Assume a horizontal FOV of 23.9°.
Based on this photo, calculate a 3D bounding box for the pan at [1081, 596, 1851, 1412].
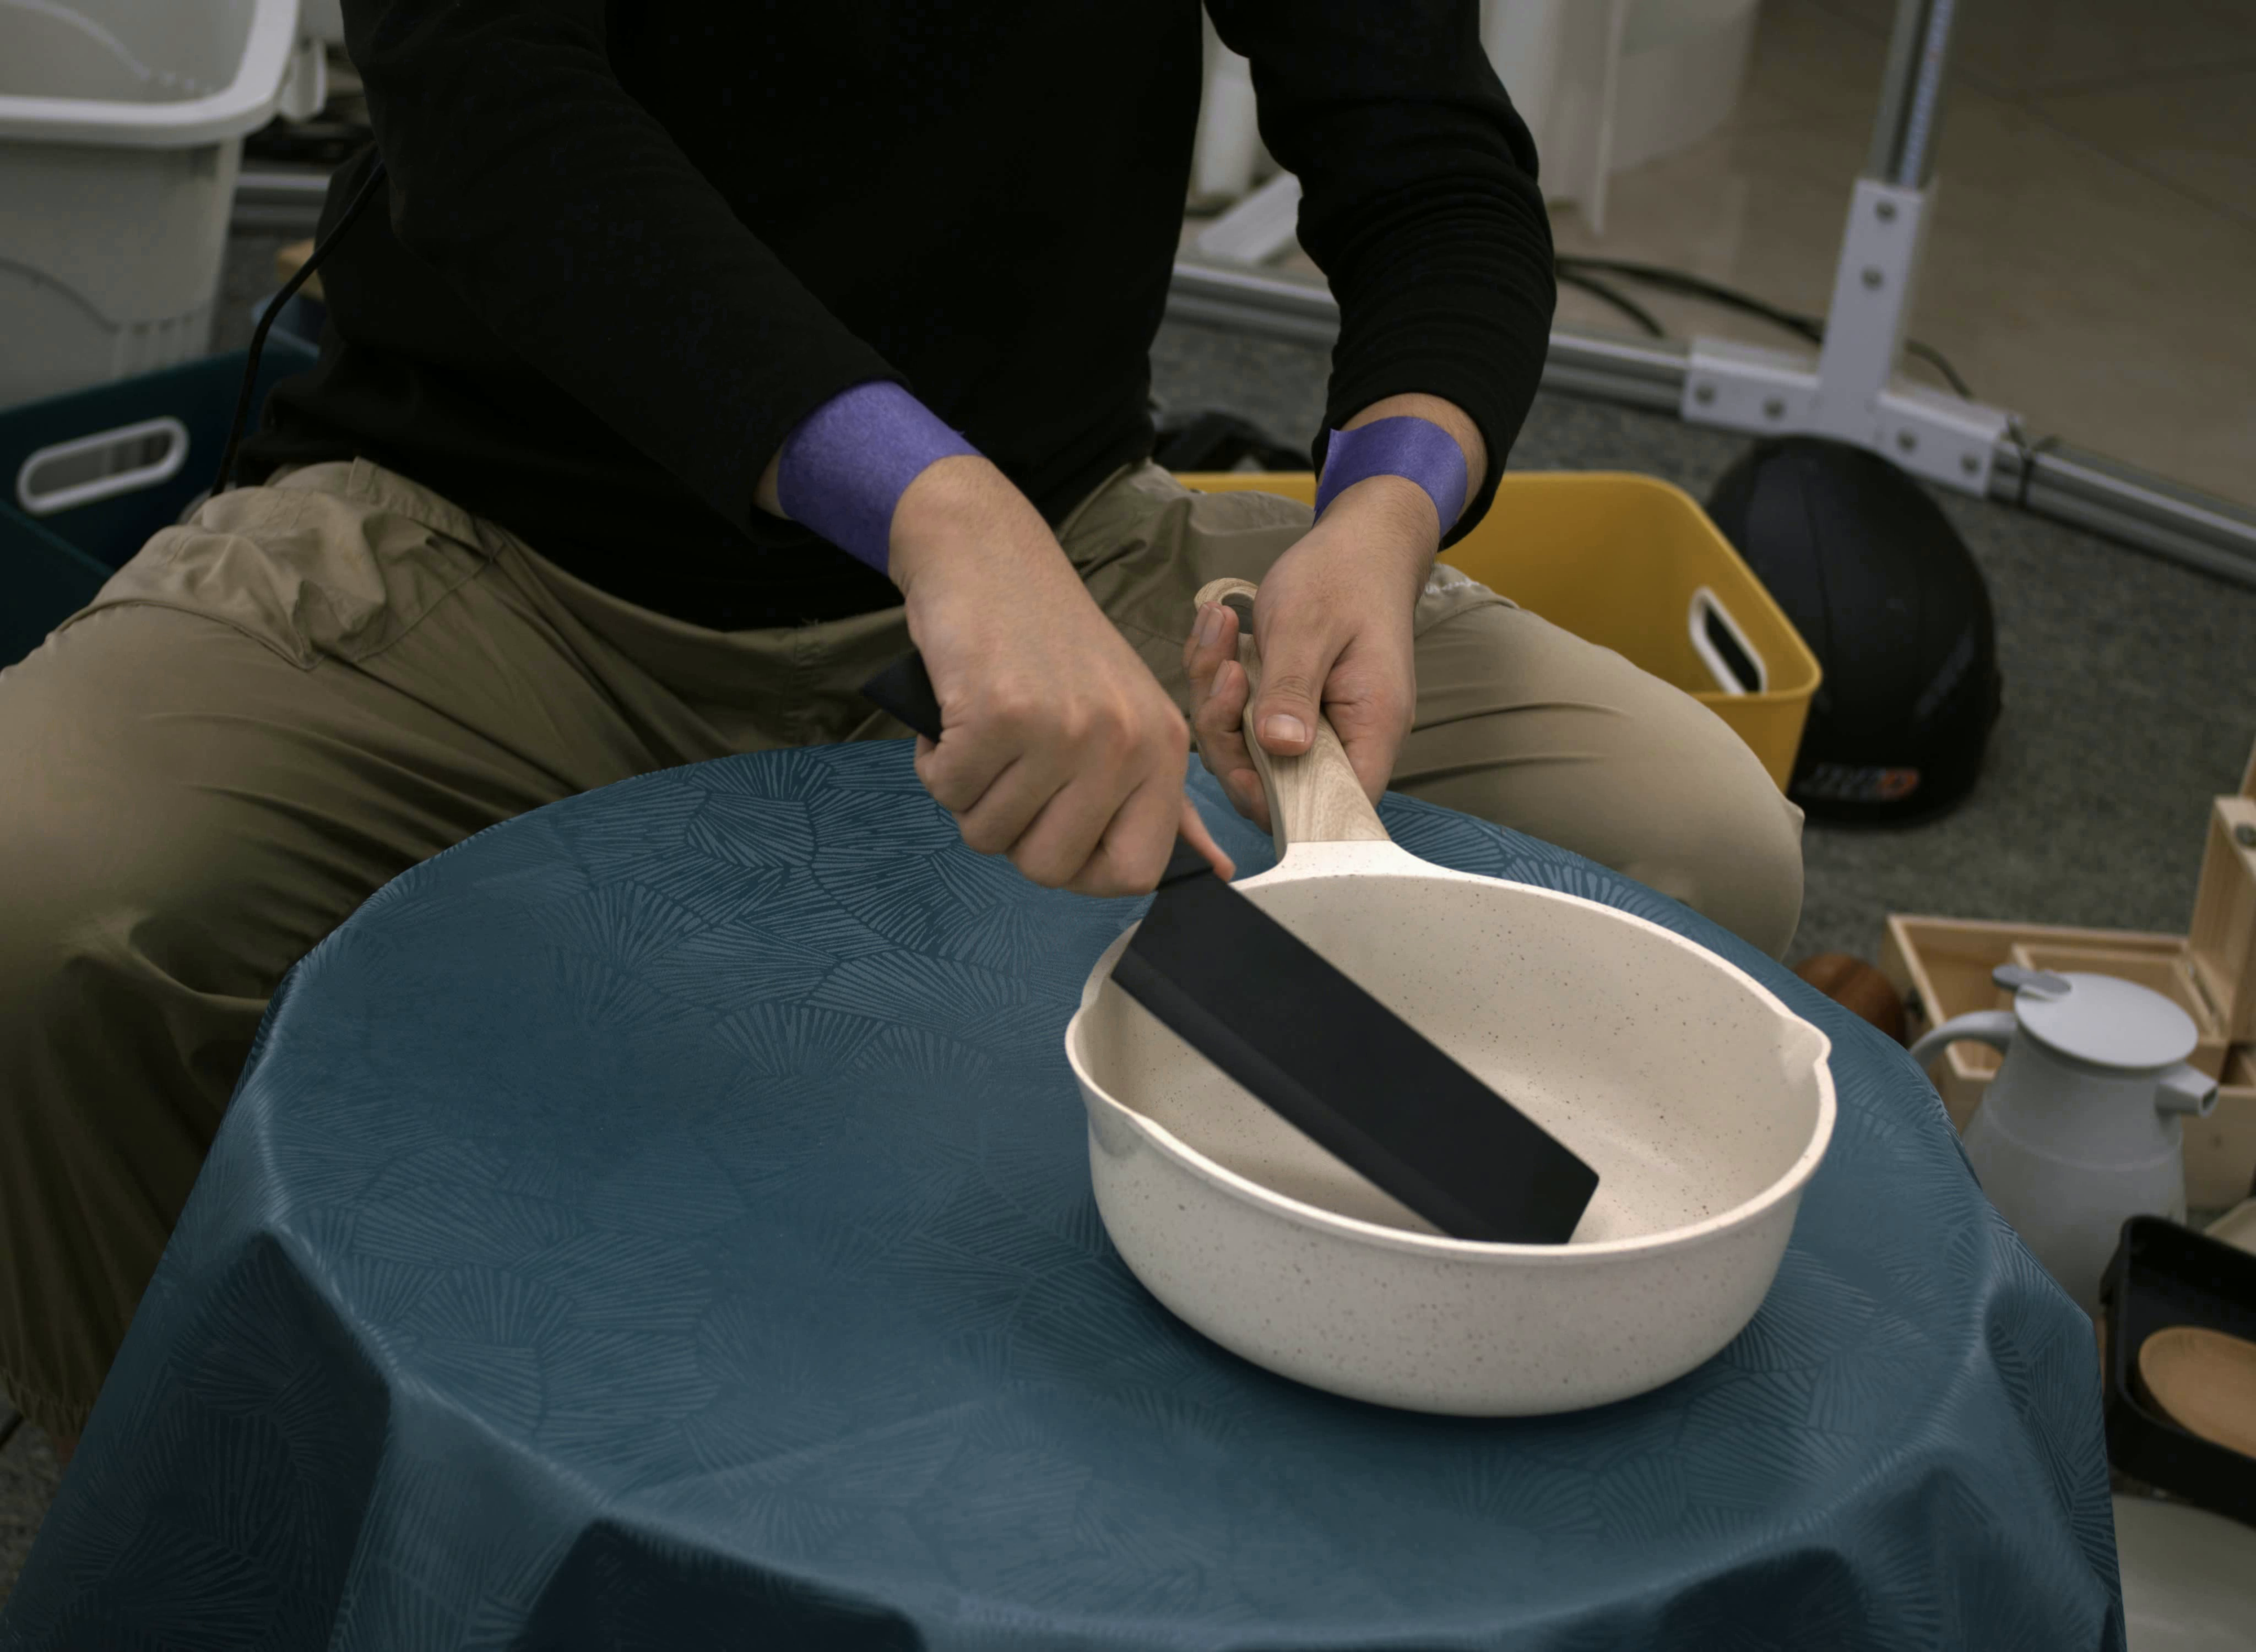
[{"bbox_3d":[0.086,0.058,1.845,0.262,0.101,0.438,-3,28,-15],"label":"pan"}]

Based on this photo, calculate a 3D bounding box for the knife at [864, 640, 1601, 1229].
[{"bbox_3d":[0.033,0.043,1.766,0.302,0.021,0.081,41,48,-2],"label":"knife"}]
